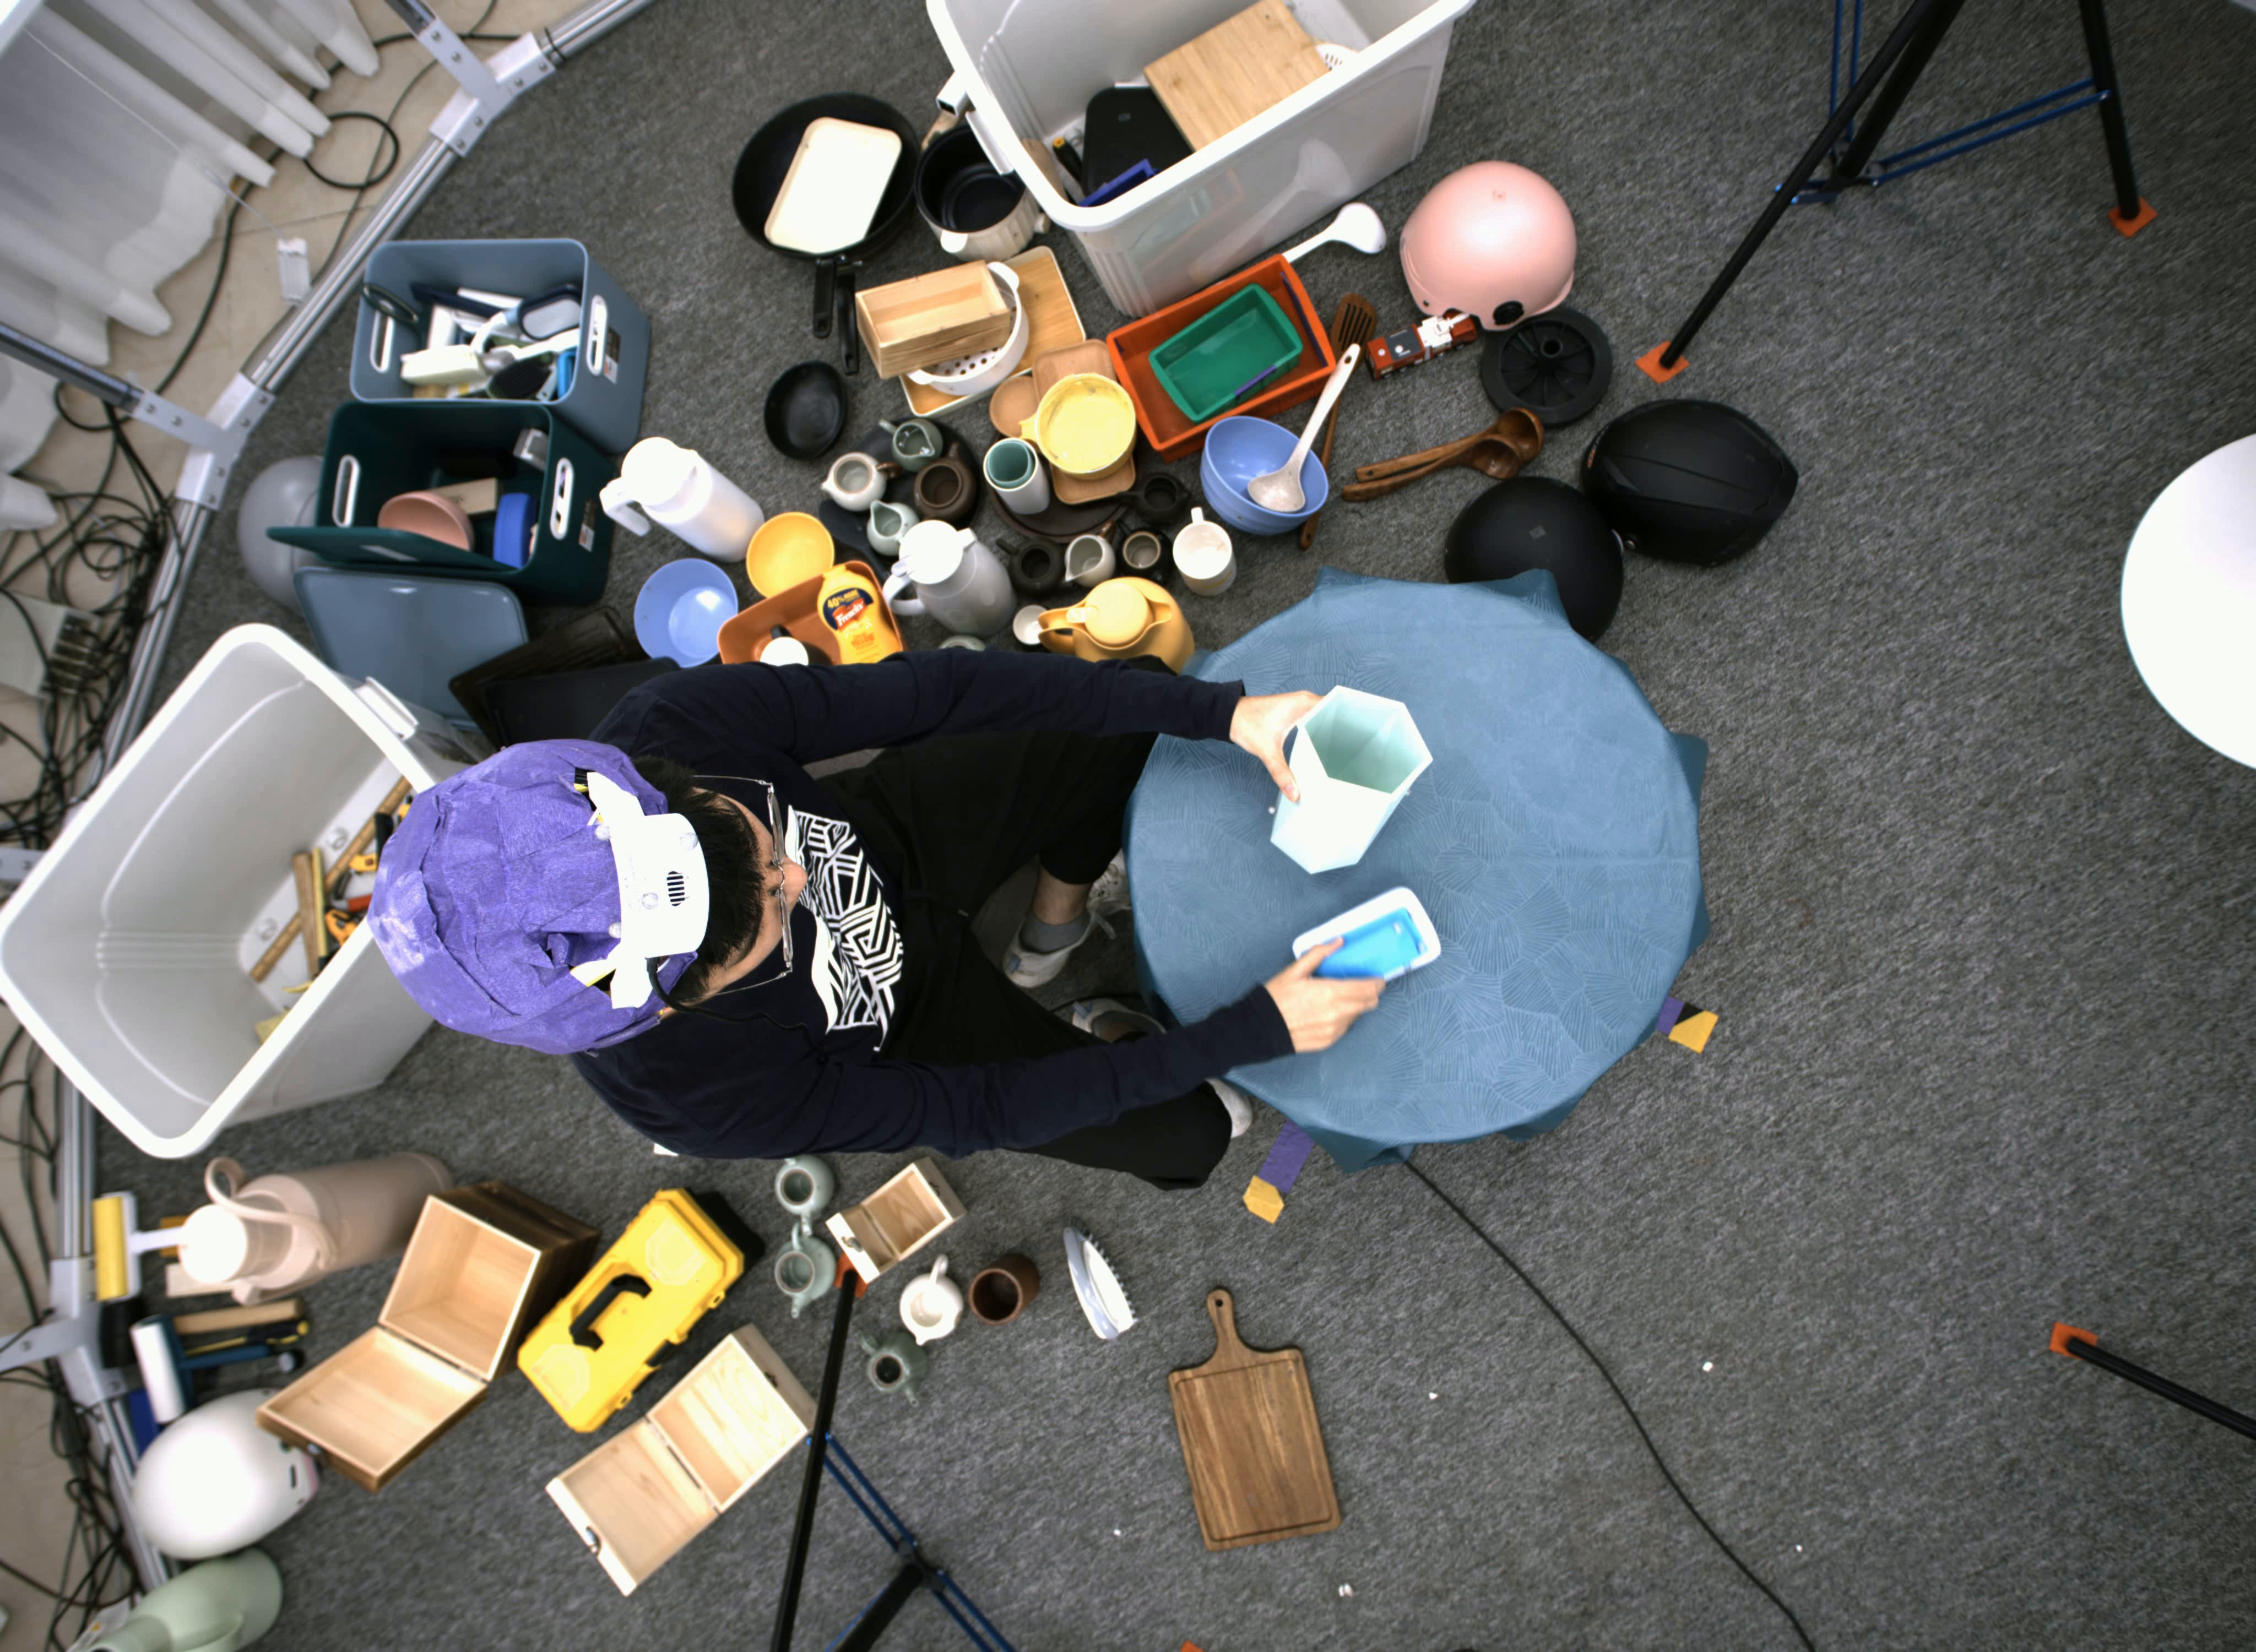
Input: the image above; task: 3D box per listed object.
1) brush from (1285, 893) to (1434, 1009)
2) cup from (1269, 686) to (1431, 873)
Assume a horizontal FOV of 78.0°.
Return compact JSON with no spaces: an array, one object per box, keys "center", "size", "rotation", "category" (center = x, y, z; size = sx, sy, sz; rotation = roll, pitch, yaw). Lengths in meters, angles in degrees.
[{"center":[0.232,0.128,1.399],"size":[0.145,0.055,0.084],"rotation":[-27,95,18],"category":"brush"},{"center":[0.204,-0.039,1.337],"size":[0.114,0.167,0.129],"rotation":[-14,64,-18],"category":"cup"}]
